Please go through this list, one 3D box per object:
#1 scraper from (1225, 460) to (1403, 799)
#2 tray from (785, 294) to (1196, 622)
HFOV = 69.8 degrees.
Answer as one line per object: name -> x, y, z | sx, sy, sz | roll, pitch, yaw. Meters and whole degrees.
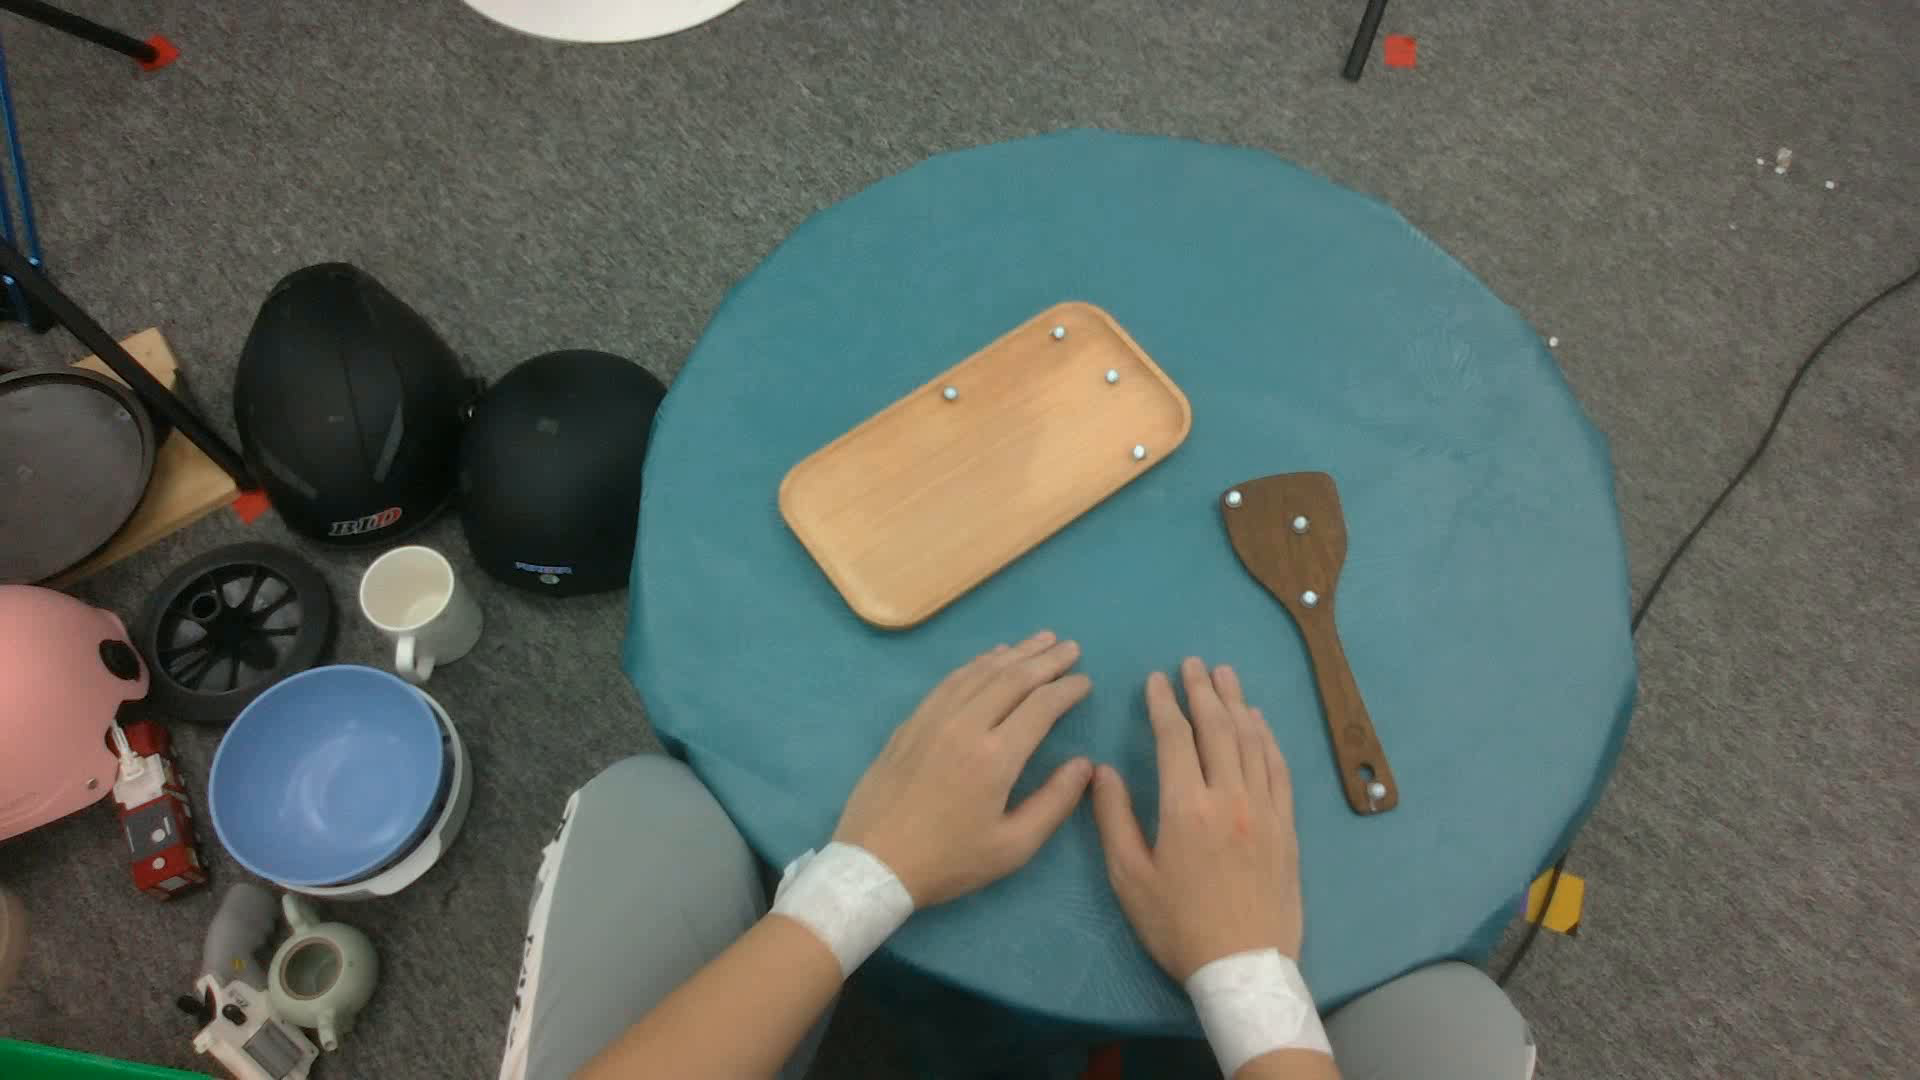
scraper -> 0.217, 0.049, 0.812 | 0.076, 0.011, 0.212 | -9, 66, -5
tray -> 0.021, -0.055, 0.852 | 0.251, 0.023, 0.131 | -33, 67, -15
